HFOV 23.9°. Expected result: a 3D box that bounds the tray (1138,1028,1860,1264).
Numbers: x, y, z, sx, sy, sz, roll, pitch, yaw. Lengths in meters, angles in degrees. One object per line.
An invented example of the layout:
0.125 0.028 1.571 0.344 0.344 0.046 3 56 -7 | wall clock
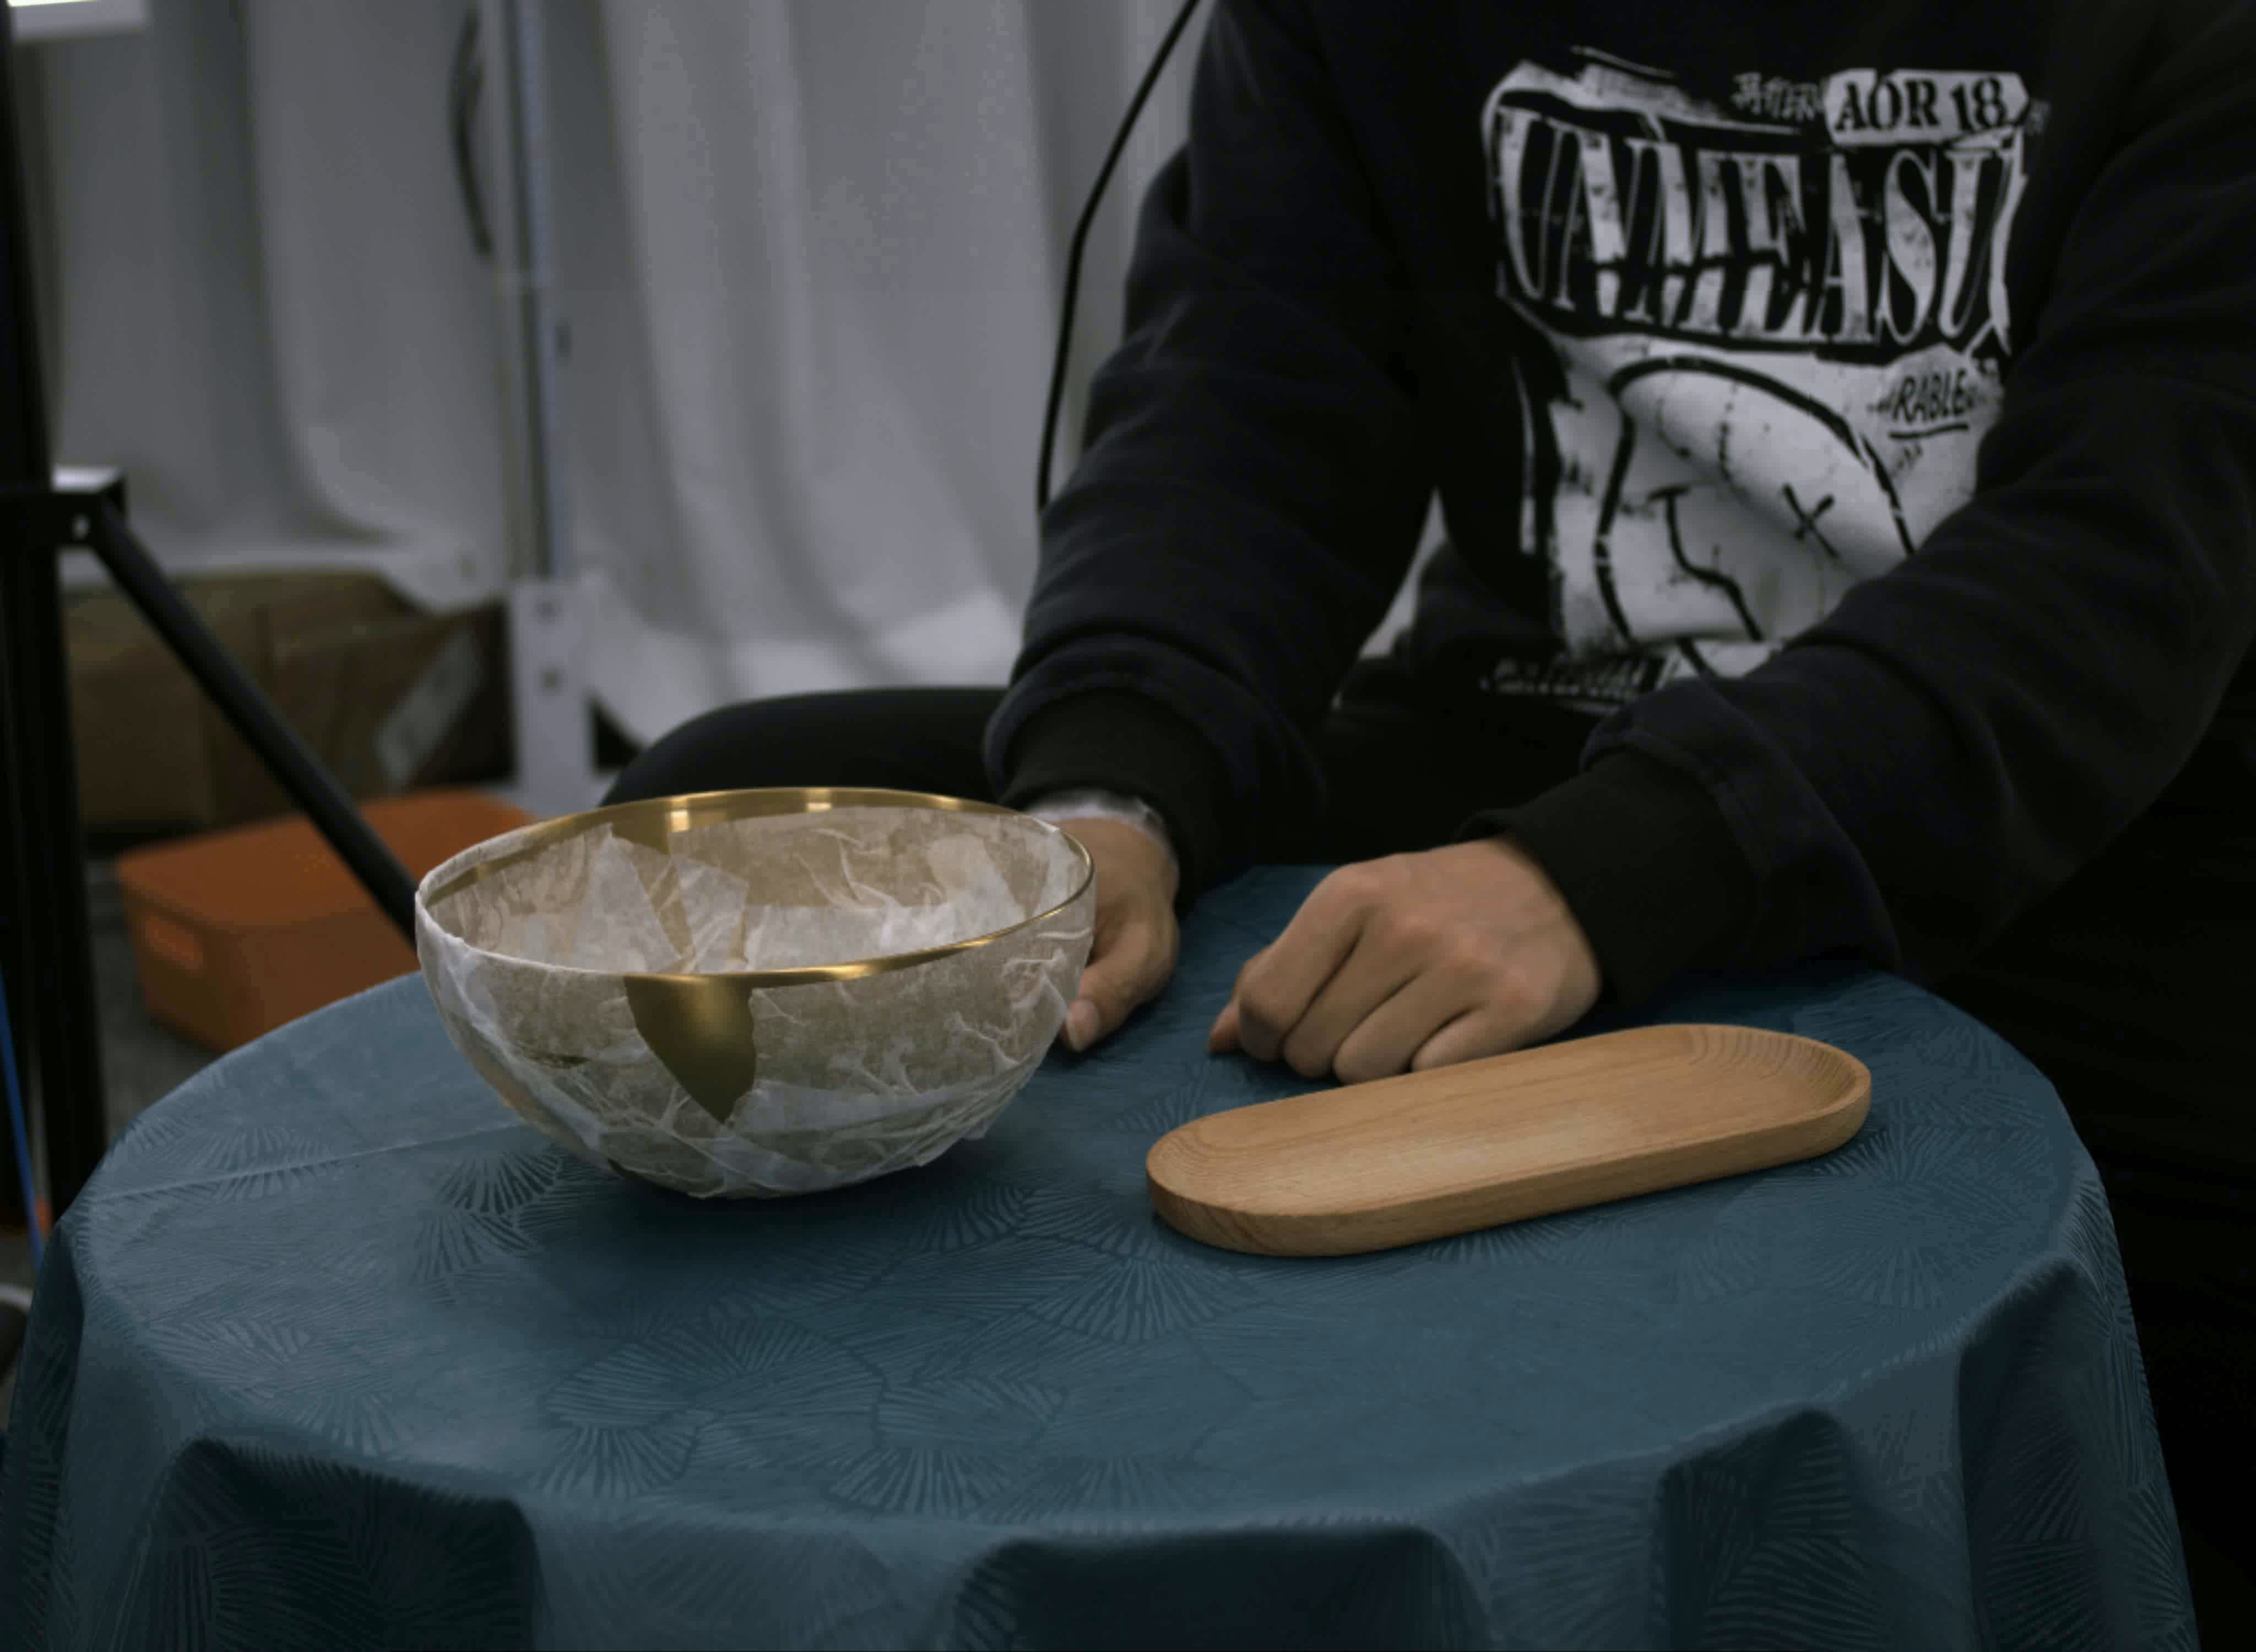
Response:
0.111 0.094 1.561 0.226 0.020 0.104 -12 16 -24 | tray

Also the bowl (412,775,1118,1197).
-0.104 0.056 1.586 0.213 0.094 0.216 -4 15 0 | bowl
